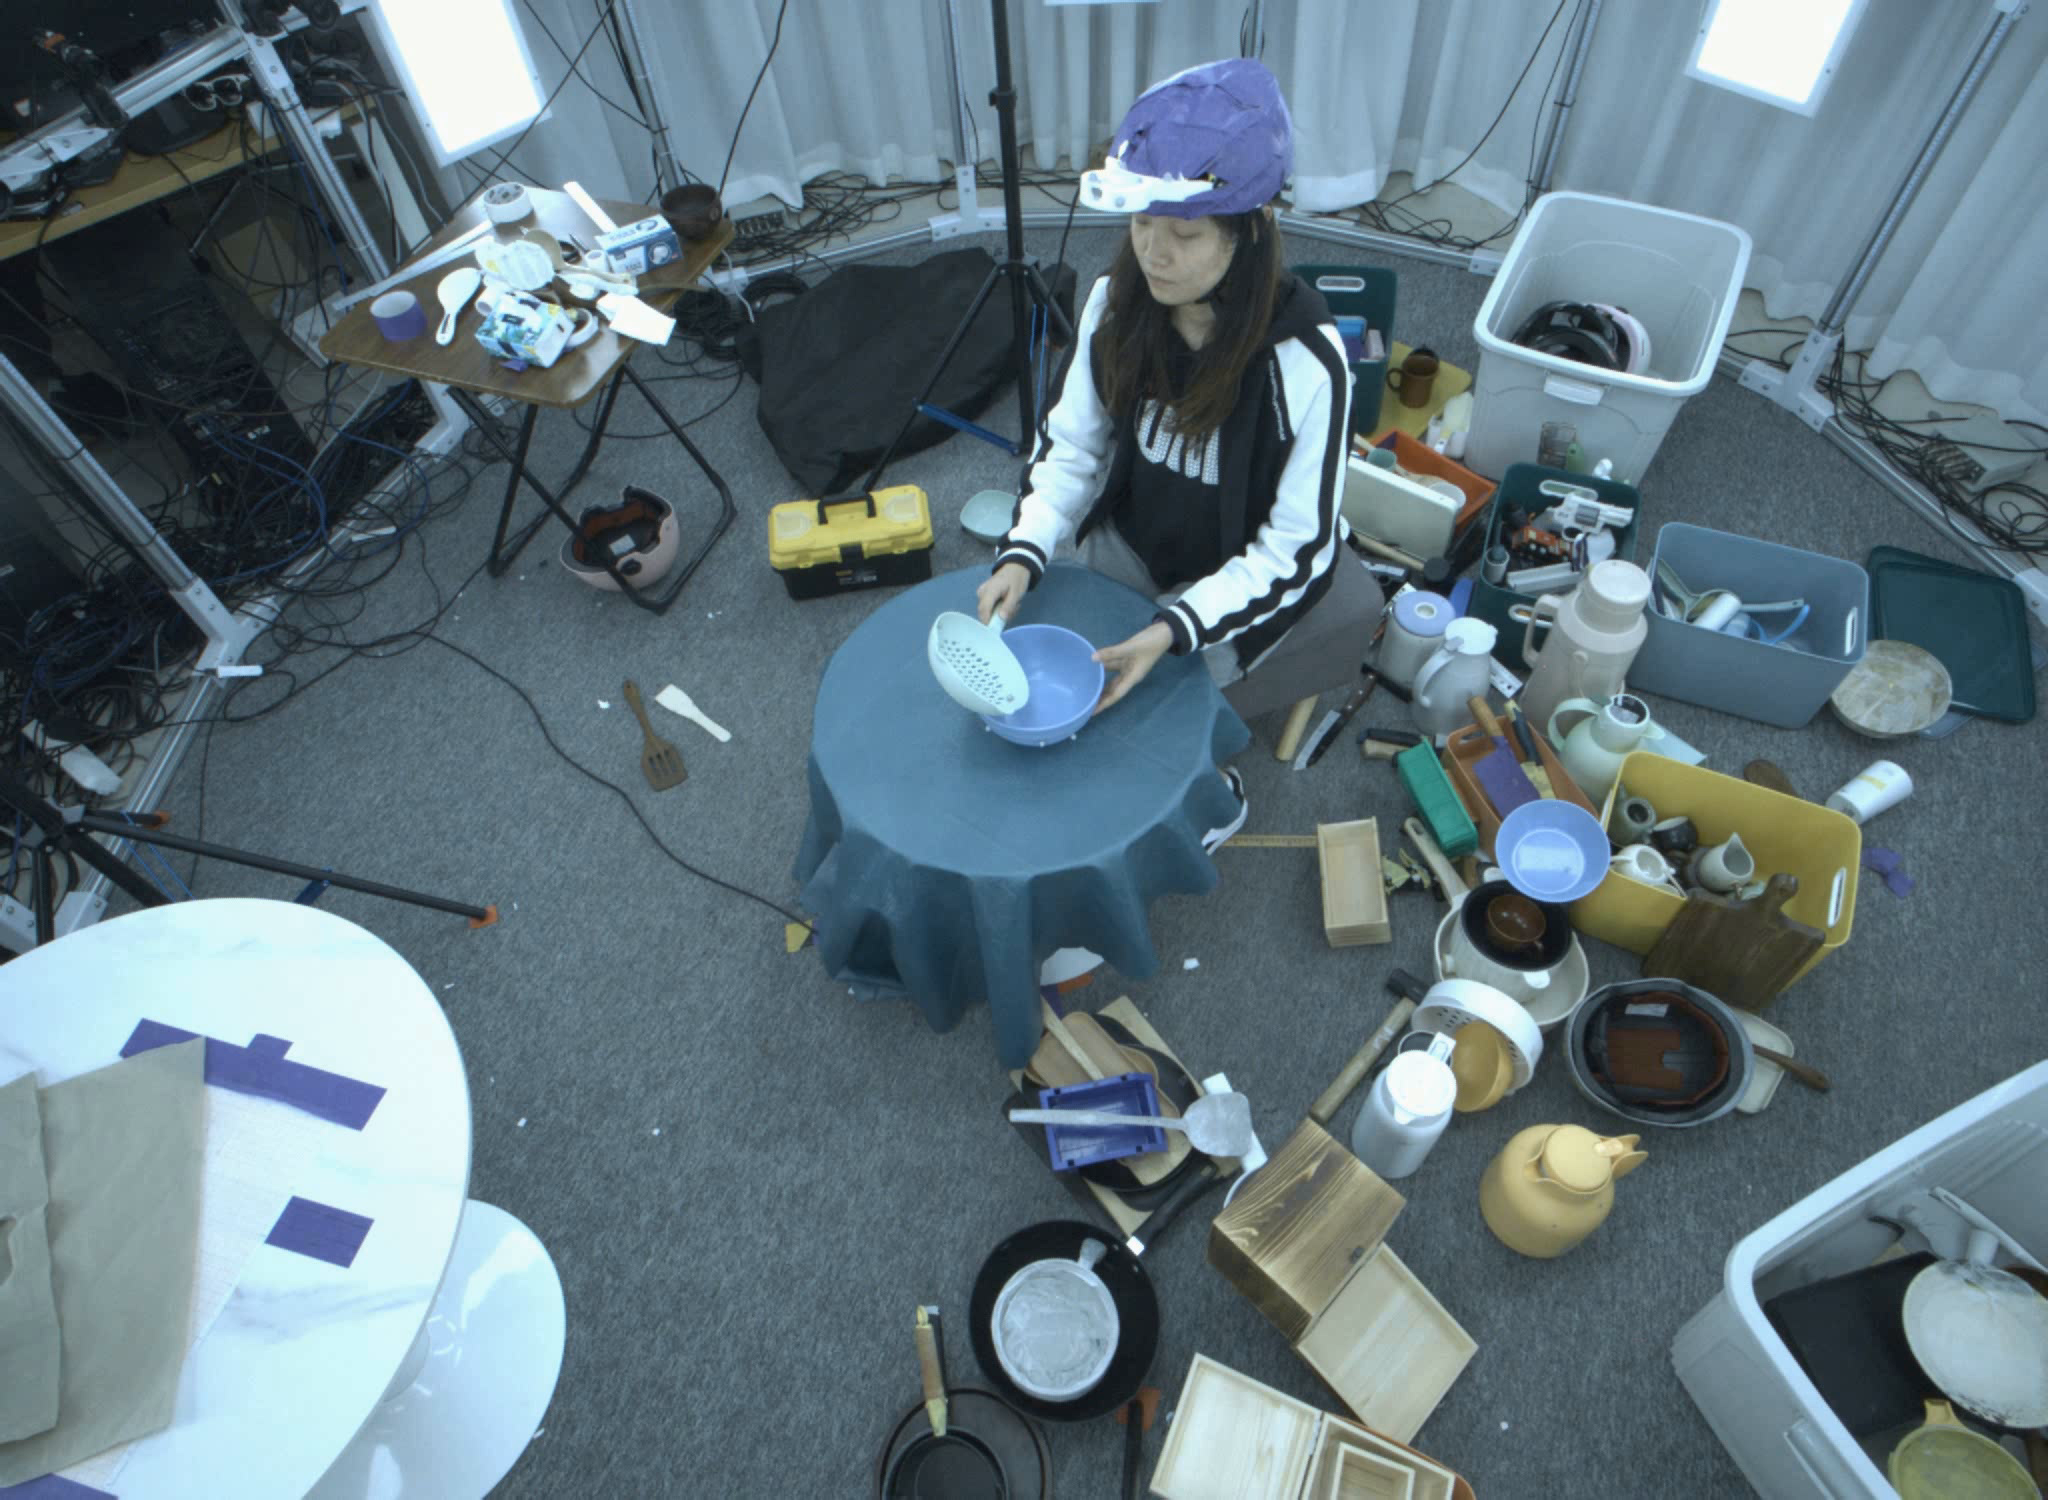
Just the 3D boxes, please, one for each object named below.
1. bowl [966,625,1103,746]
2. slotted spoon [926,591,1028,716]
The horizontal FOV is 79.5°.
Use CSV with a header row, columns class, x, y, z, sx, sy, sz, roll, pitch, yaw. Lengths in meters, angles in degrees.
class,x,y,z,sx,sy,sz,roll,pitch,yaw
bowl,0.017,-0.078,1.785,0.196,0.096,0.194,-1,54,2
slotted spoon,-0.052,-0.162,1.774,0.171,0.074,0.358,42,35,-14
